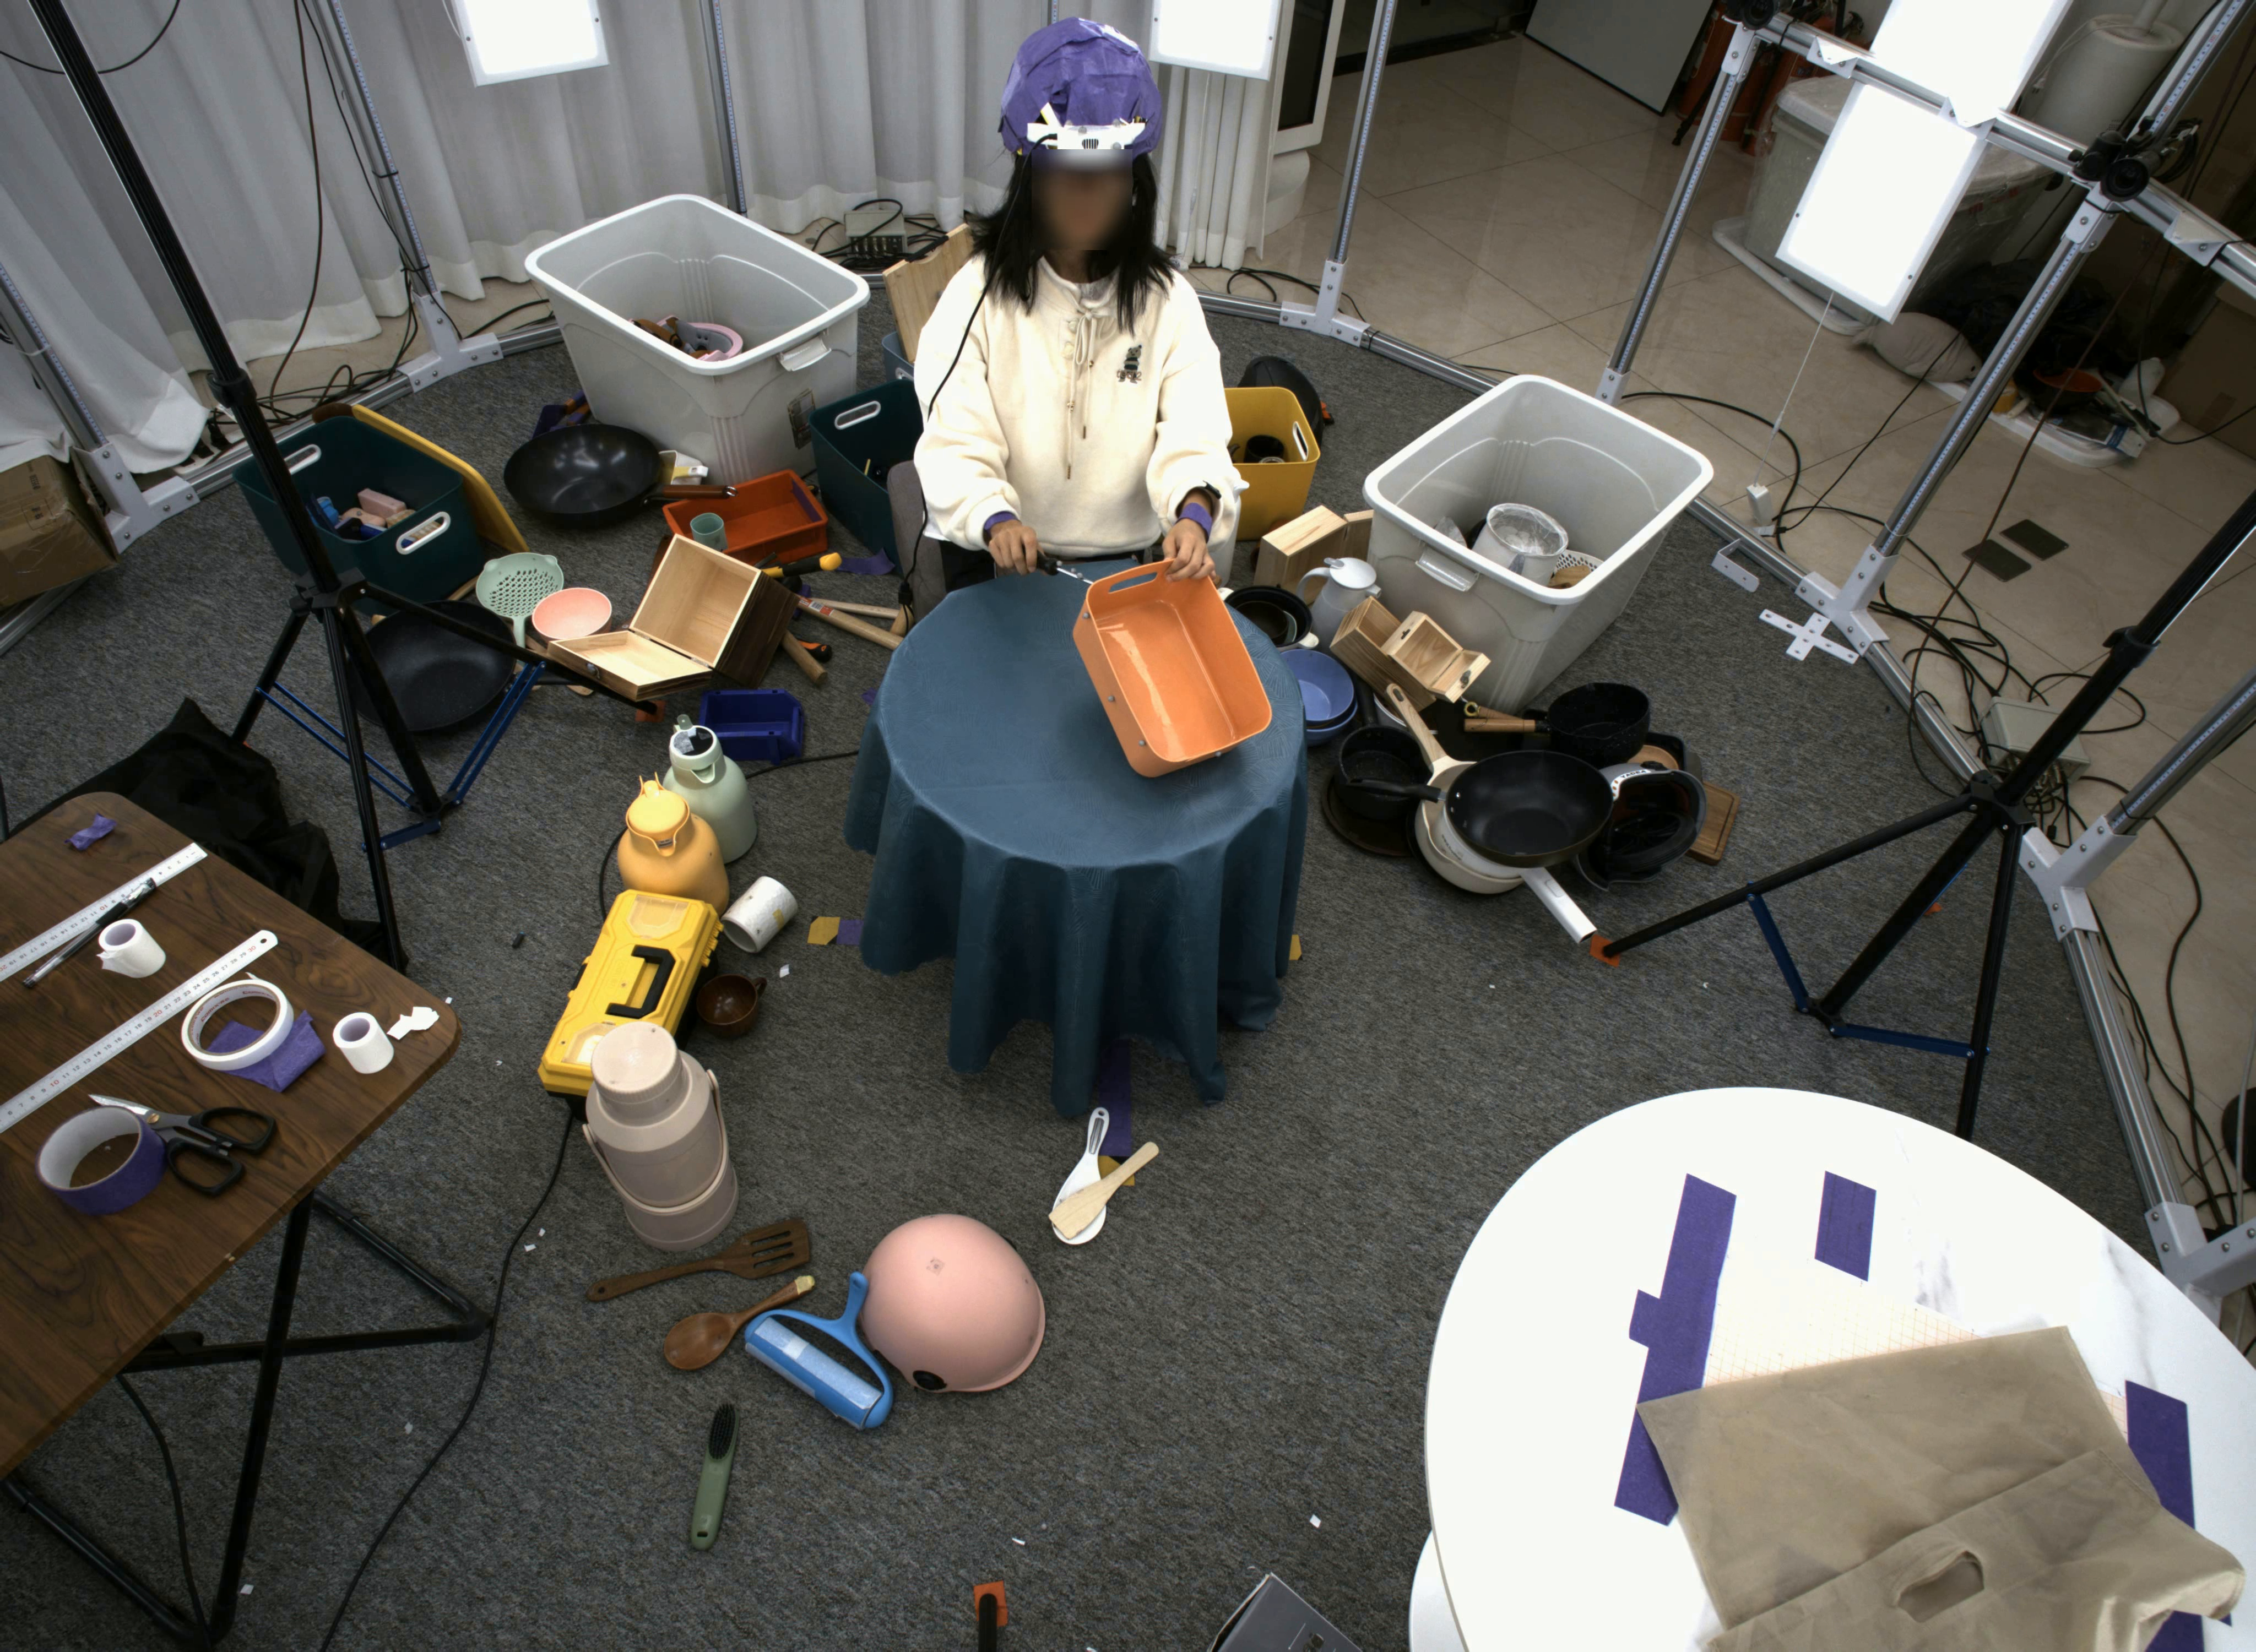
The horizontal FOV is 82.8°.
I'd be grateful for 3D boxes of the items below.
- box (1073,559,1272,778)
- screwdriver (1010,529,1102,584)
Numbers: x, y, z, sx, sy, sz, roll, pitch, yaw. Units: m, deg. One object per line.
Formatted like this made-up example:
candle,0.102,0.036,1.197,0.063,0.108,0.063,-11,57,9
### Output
box,0.053,-0.208,1.728,0.200,0.101,0.276,-19,78,-23
screwdriver,-0.097,-0.370,1.791,0.032,0.031,0.201,-32,48,-27
